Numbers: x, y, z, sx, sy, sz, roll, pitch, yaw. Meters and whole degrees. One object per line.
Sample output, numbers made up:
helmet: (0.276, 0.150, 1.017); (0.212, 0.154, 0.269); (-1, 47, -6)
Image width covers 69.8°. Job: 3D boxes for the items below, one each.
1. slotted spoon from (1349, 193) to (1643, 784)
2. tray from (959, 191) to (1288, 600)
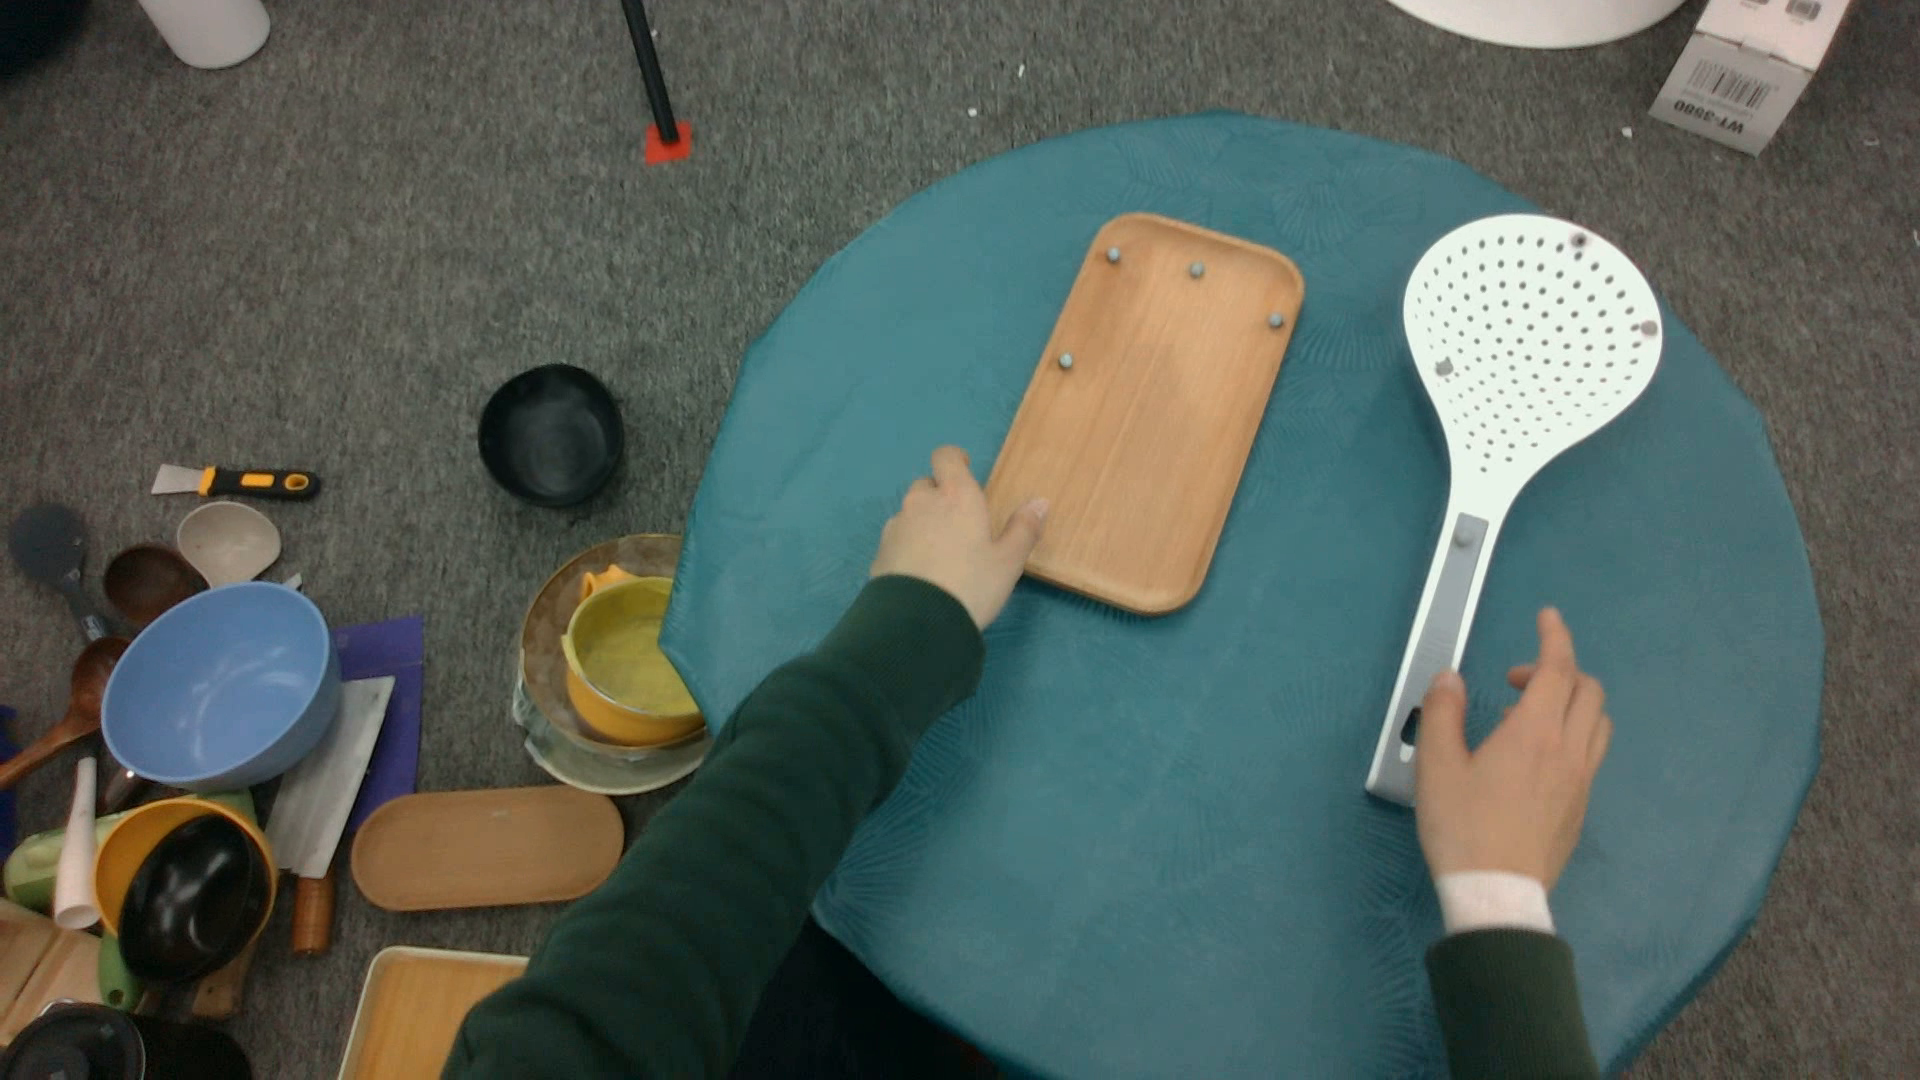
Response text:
slotted spoon: (0.267, -0.037, 0.729); (0.136, 0.045, 0.351); (19, 66, 11)
tray: (0.095, -0.087, 0.768); (0.130, 0.023, 0.251); (19, 66, 10)
